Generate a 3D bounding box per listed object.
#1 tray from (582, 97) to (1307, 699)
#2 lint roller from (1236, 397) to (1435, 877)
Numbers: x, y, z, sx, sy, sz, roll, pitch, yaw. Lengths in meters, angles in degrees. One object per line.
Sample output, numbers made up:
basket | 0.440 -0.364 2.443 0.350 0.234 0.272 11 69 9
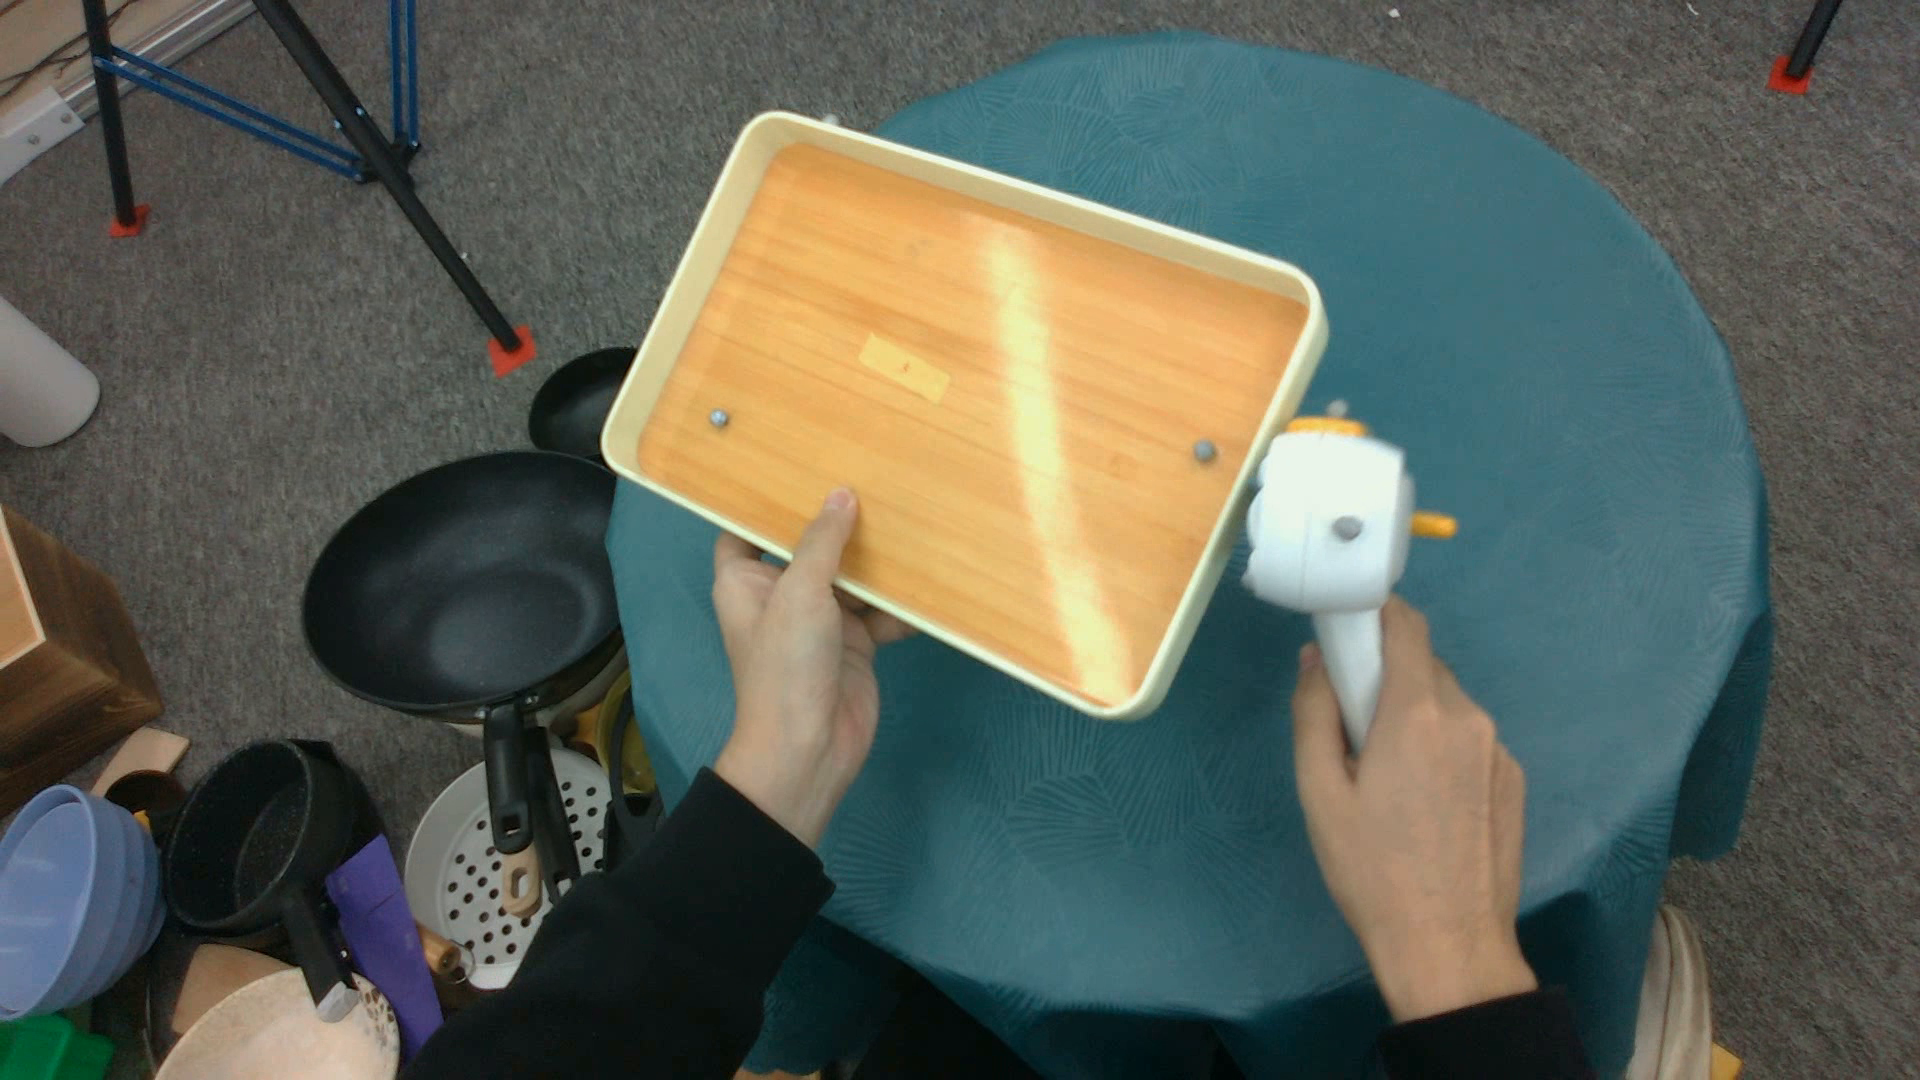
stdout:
tray | -0.020 -0.073 0.605 0.300 0.027 0.191 25 88 26
lint roller | 0.151 0.041 0.552 0.074 0.193 0.192 -2 97 12
